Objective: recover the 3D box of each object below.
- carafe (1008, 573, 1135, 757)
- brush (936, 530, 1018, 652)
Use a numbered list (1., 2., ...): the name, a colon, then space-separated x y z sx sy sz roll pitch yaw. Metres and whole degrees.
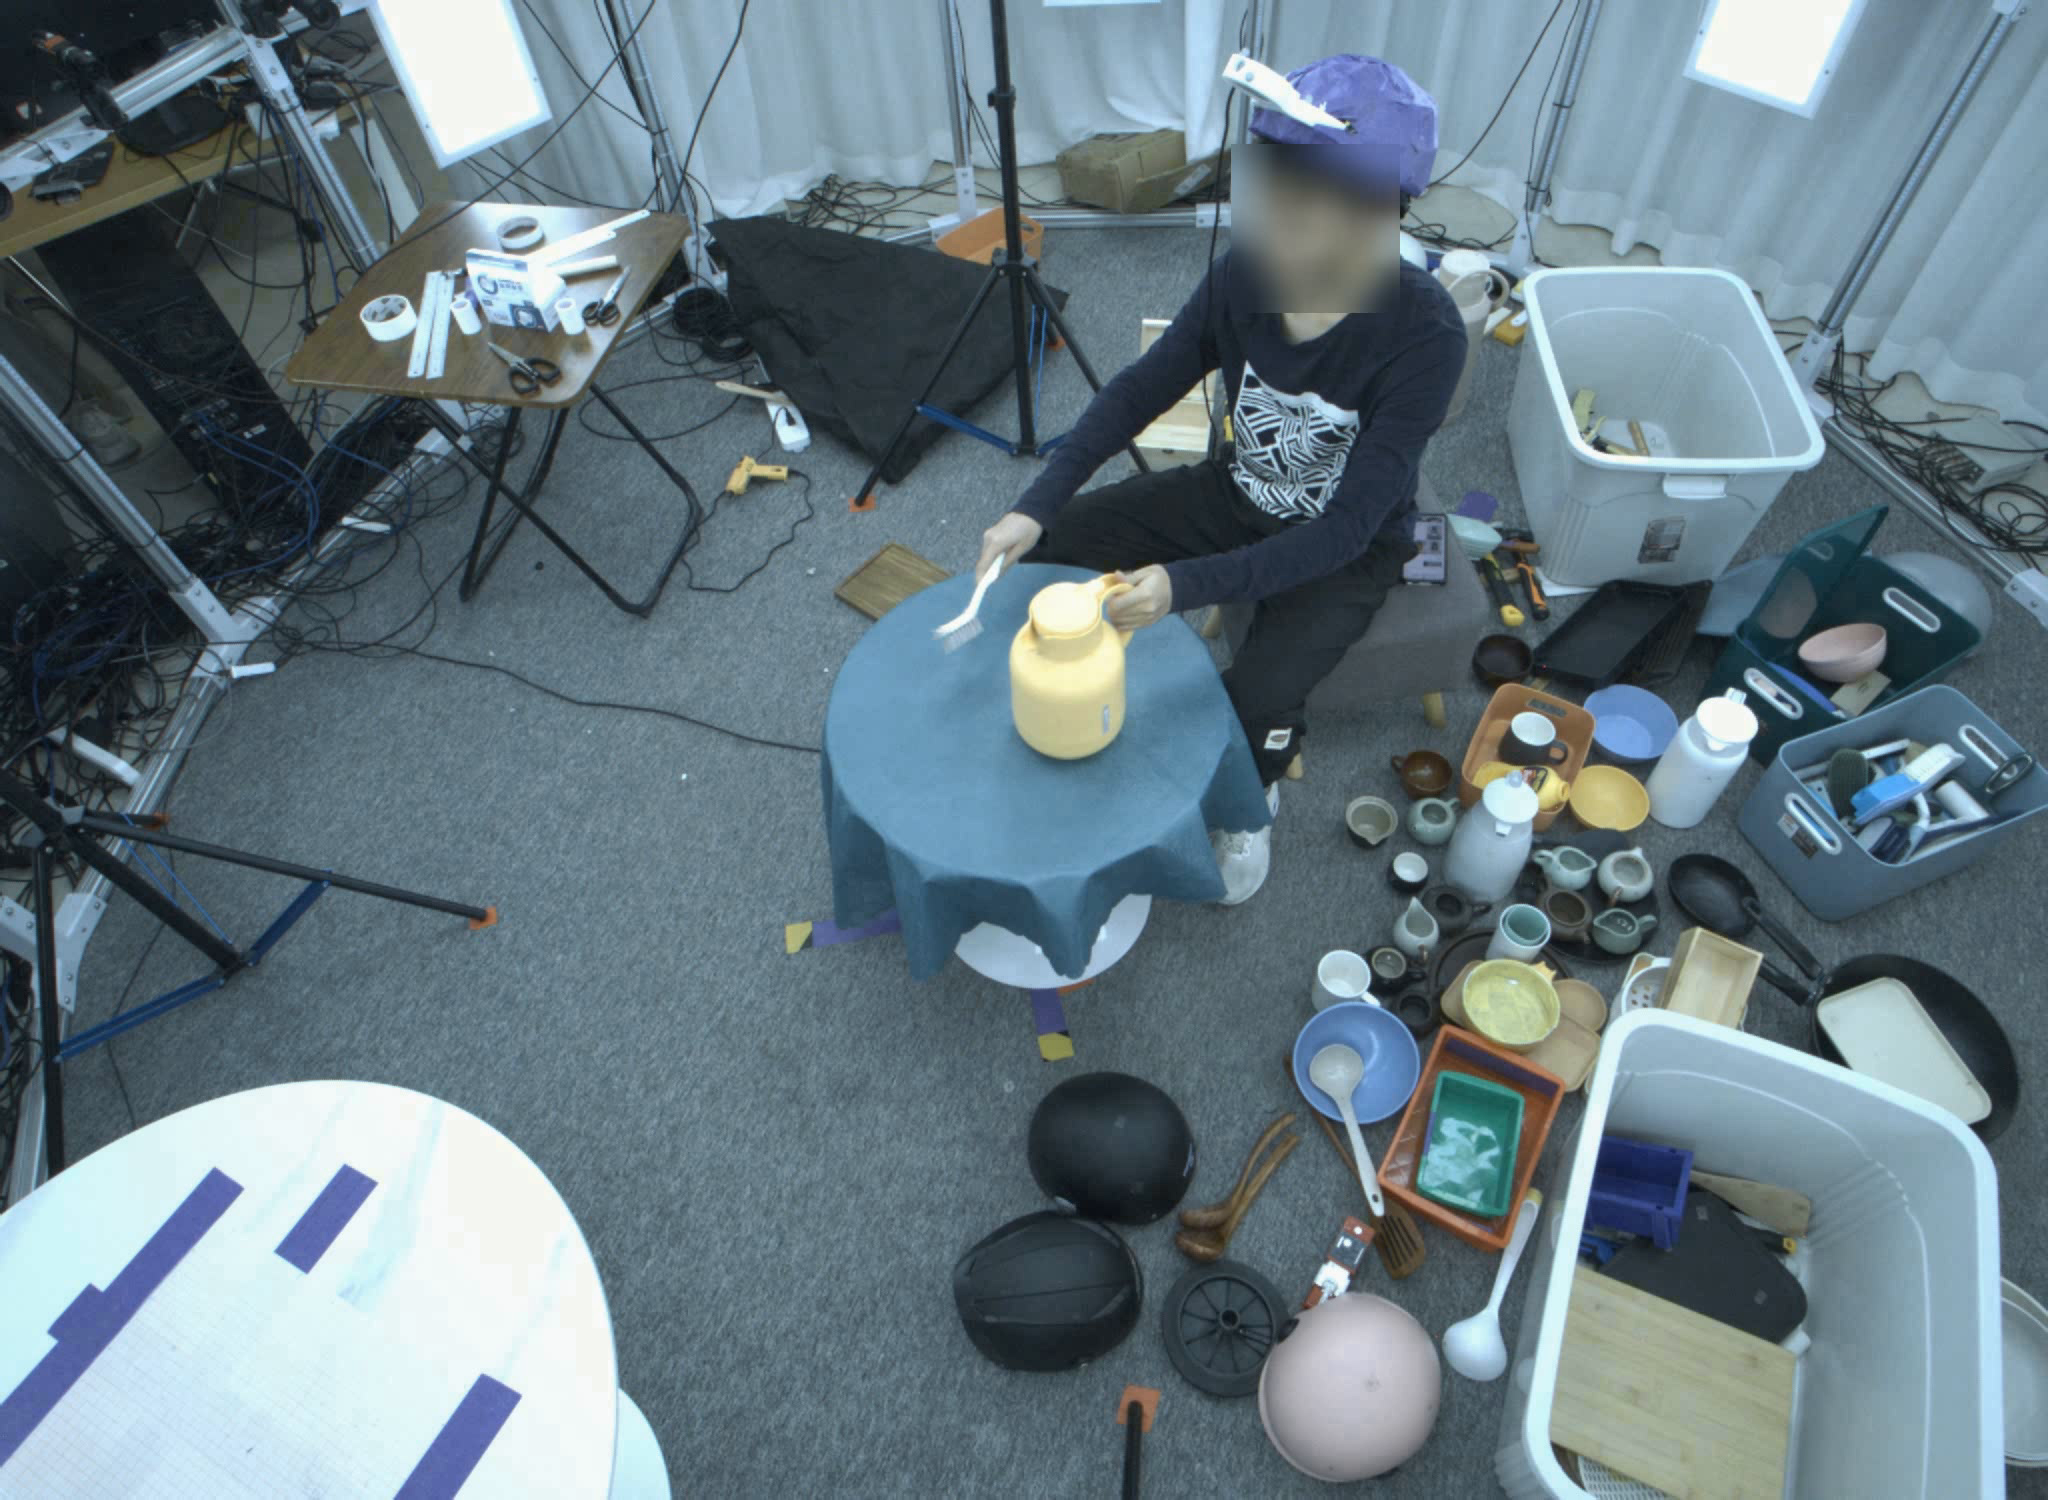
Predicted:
1. carafe: 0.074 -0.126 1.706 0.204 0.263 0.160 -37 63 -20
2. brush: -0.056 -0.237 1.834 0.051 0.034 0.244 41 57 -15
